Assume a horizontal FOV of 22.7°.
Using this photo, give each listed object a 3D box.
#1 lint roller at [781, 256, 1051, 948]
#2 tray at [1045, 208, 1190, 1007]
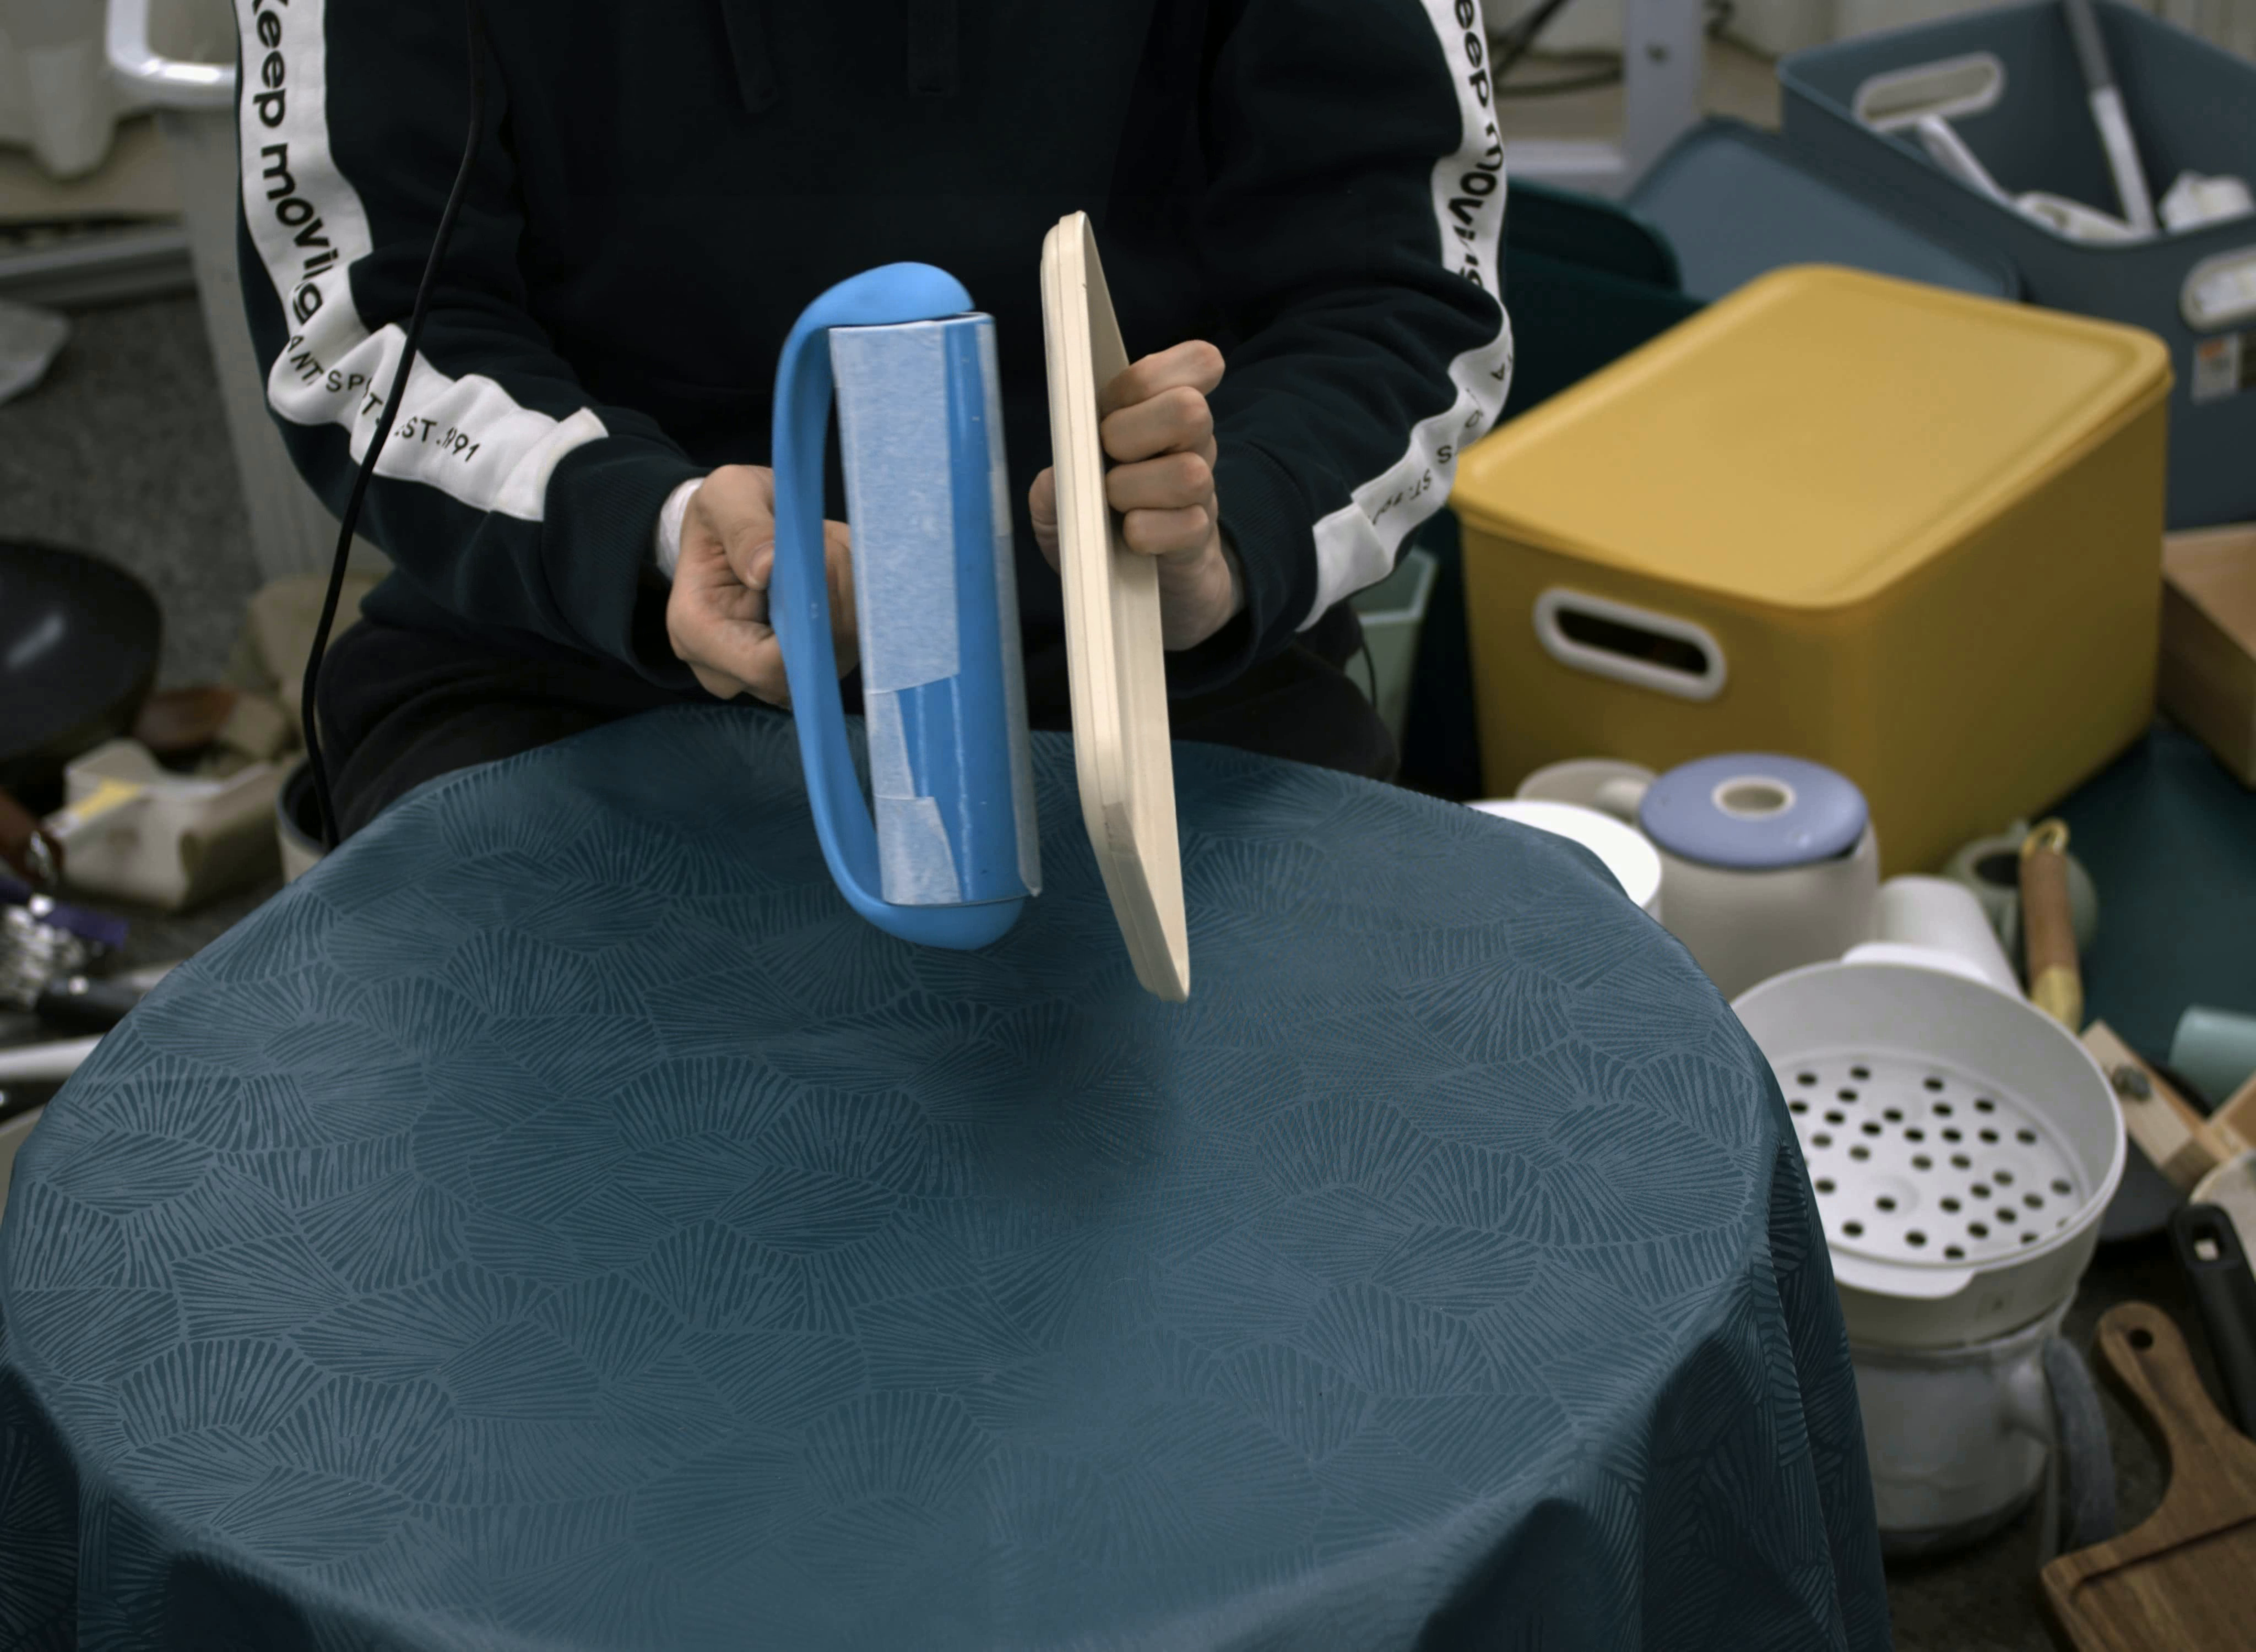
[{"bbox_3d":[-0.087,-0.075,1.913,0.068,0.229,0.179,-9,5,-25],"label":"lint roller"},{"bbox_3d":[-0.004,-0.071,1.878,0.017,0.169,0.244,-7,62,4],"label":"tray"}]
